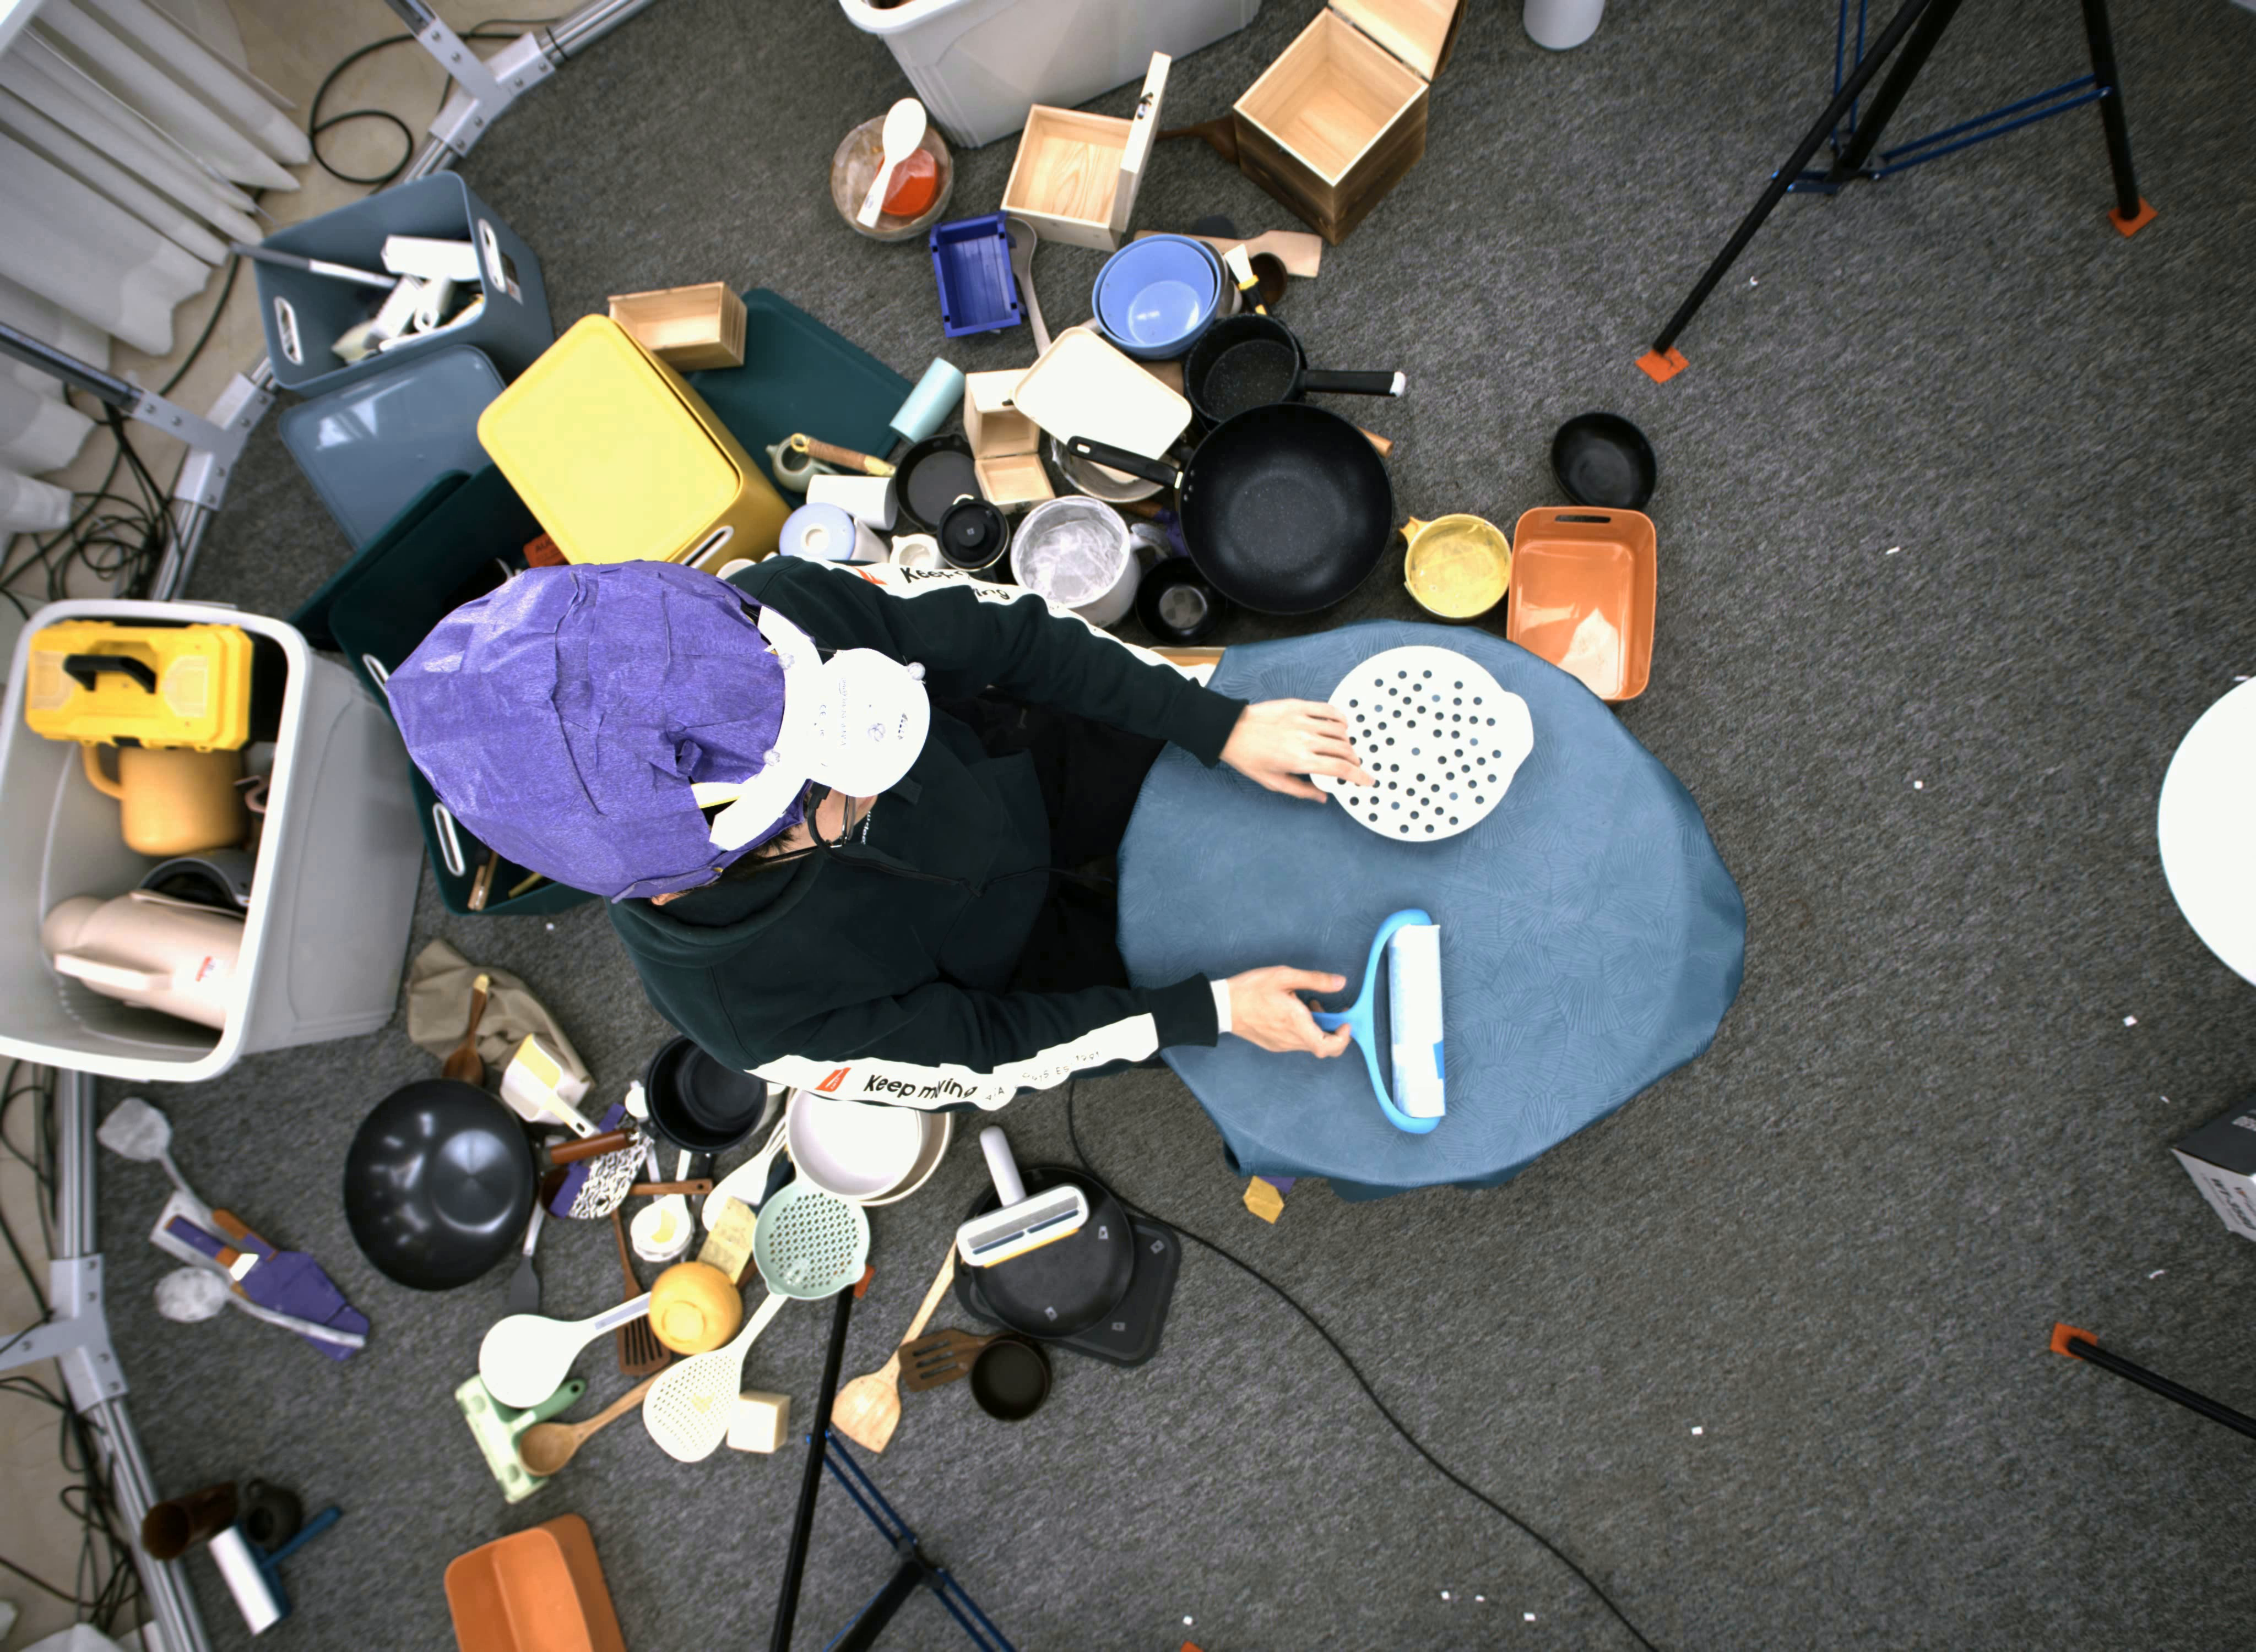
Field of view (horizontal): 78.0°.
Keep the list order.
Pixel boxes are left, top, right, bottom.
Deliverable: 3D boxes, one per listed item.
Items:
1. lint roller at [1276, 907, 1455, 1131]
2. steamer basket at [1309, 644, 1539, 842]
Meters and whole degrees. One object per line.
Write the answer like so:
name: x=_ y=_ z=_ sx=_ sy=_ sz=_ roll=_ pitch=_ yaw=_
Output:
lint roller: x=0.242 y=0.203 z=1.426 sx=0.181 sy=0.068 sz=0.228 roll=-7 pitch=88 yaw=9
steamer basket: x=0.304 y=-0.085 z=1.423 sx=0.232 sy=0.069 sz=0.200 roll=-9 pitch=84 yaw=11
